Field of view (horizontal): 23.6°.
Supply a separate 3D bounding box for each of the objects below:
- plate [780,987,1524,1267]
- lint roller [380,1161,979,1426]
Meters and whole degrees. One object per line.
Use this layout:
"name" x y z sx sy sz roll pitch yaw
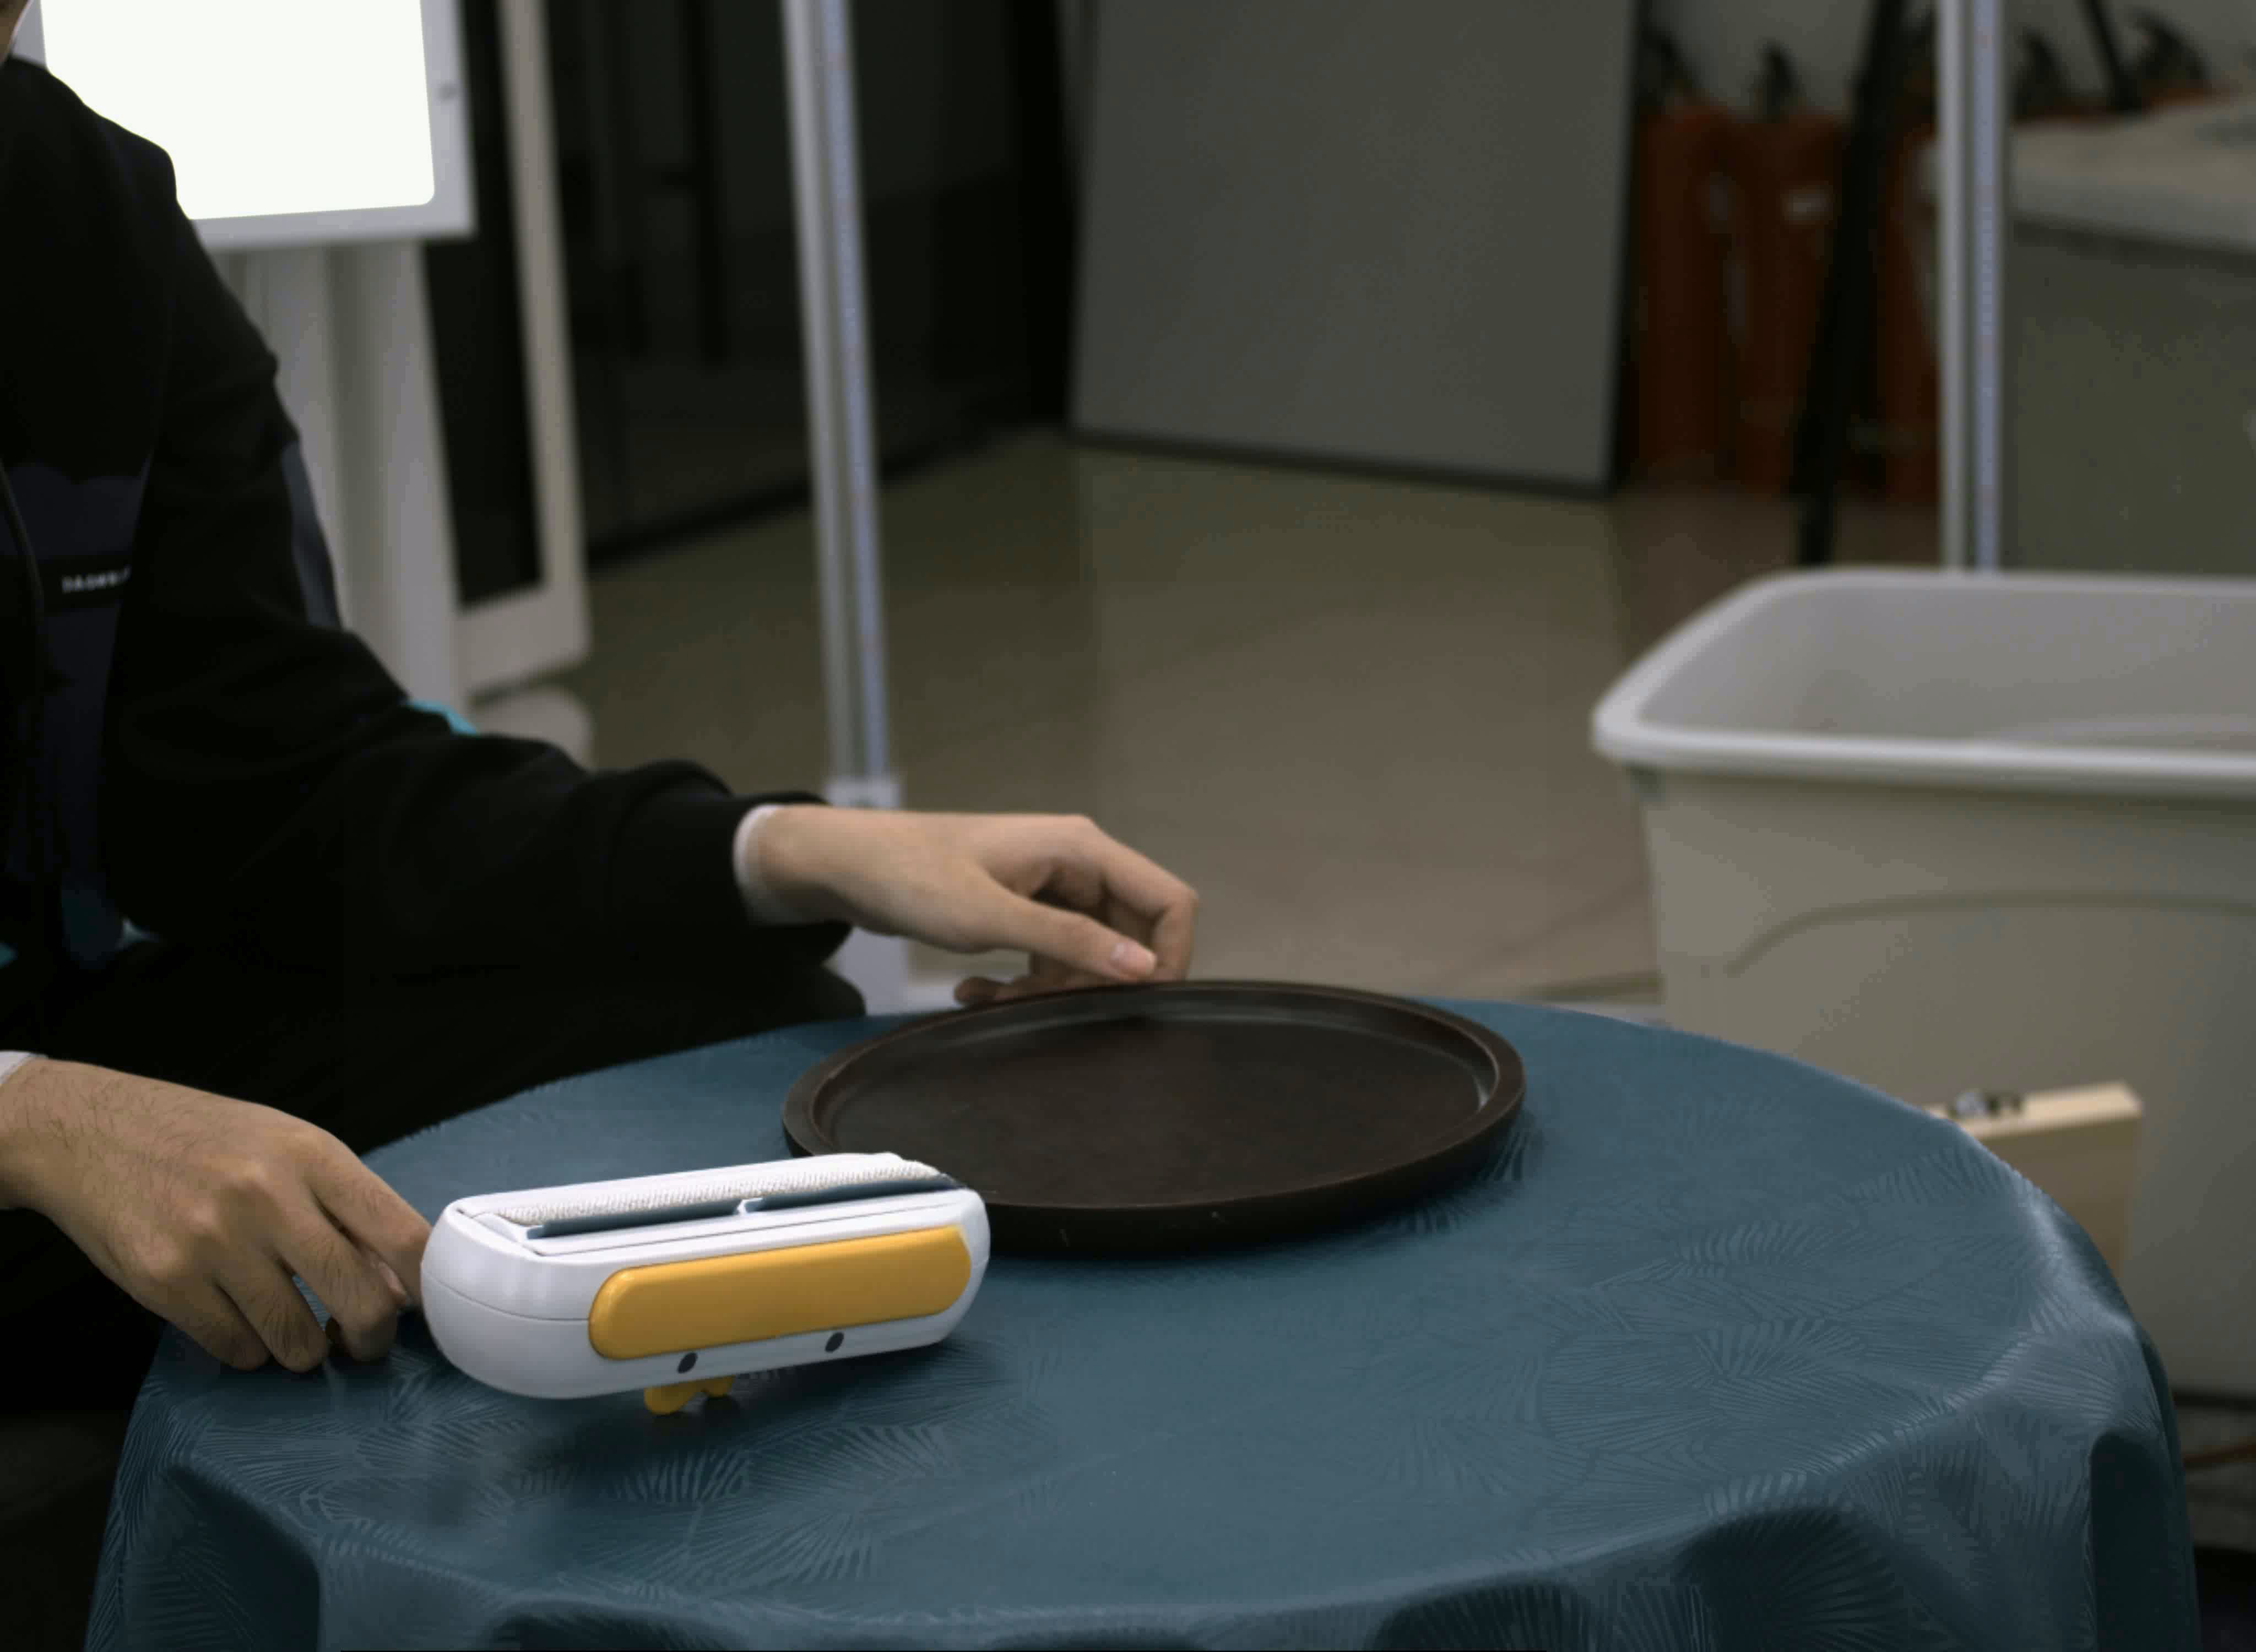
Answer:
"plate" 0.009 0.099 1.812 0.251 0.029 0.255 -5 14 0
"lint roller" -0.165 0.132 1.634 0.188 0.075 0.194 -8 11 -39
